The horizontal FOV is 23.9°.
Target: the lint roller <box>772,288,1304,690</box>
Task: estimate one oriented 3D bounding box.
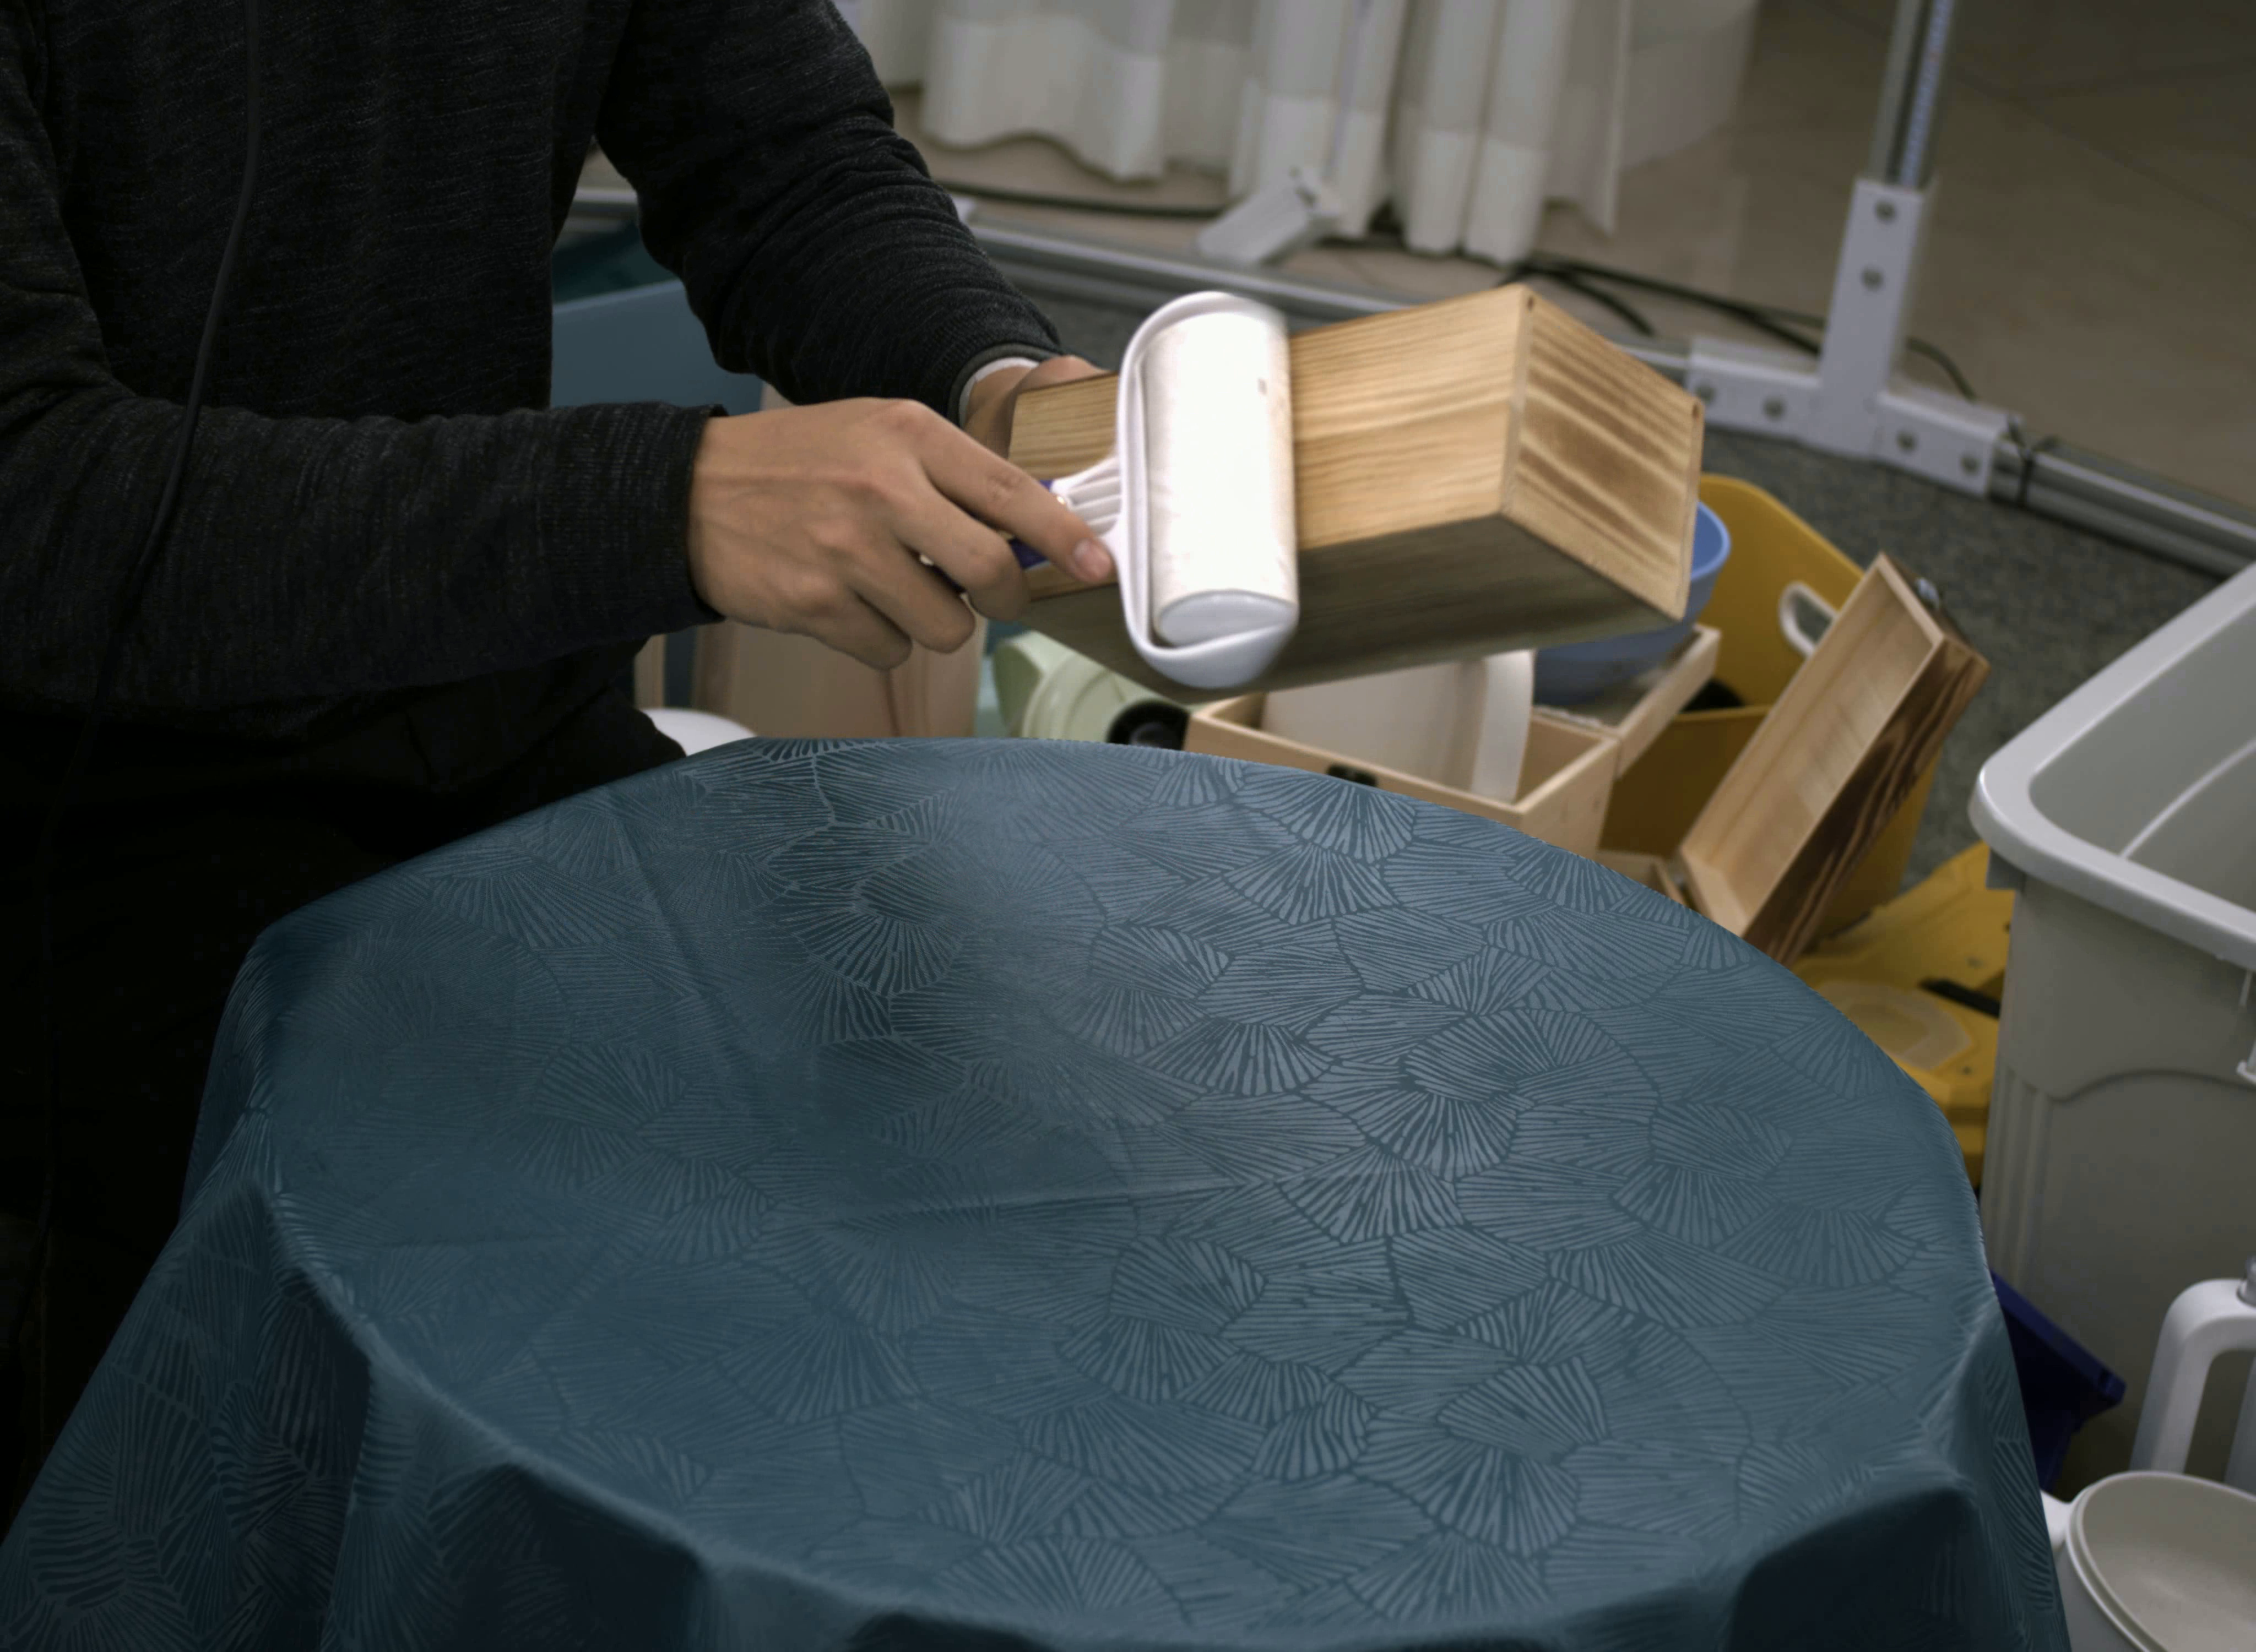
[{"bbox_3d":[-0.033,-0.102,1.710,0.181,0.050,0.134,-5,67,13],"label":"lint roller"}]

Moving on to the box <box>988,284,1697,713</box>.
[{"bbox_3d":[0.070,-0.105,1.764,0.212,0.081,0.106,-9,-24,39],"label":"box"}]
